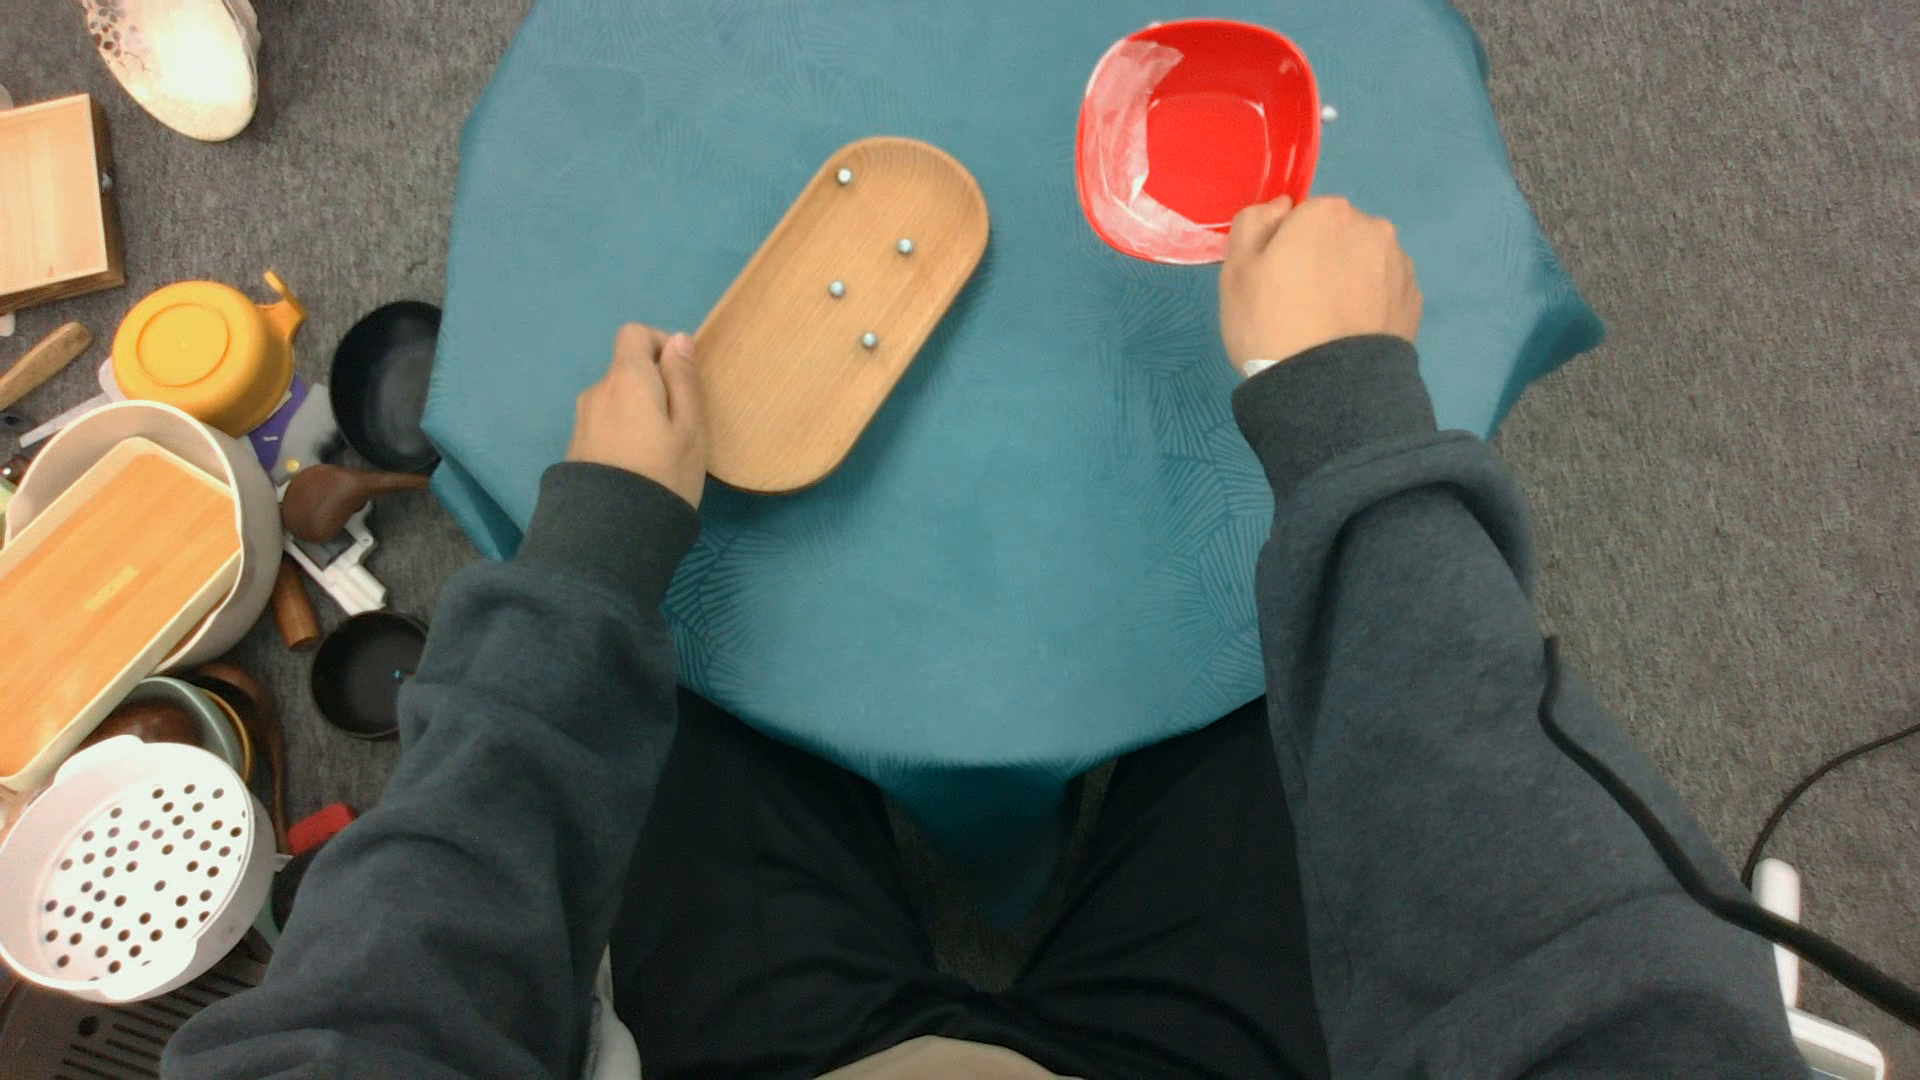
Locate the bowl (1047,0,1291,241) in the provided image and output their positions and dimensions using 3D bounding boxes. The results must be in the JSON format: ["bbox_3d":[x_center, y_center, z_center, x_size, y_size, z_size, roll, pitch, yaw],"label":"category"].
[{"bbox_3d":[0.099,-0.194,0.648,0.119,0.051,0.119,1,95,13],"label":"bowl"}]

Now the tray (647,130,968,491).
[{"bbox_3d":[-0.077,-0.125,0.731,0.101,0.020,0.232,31,70,0],"label":"tray"}]
